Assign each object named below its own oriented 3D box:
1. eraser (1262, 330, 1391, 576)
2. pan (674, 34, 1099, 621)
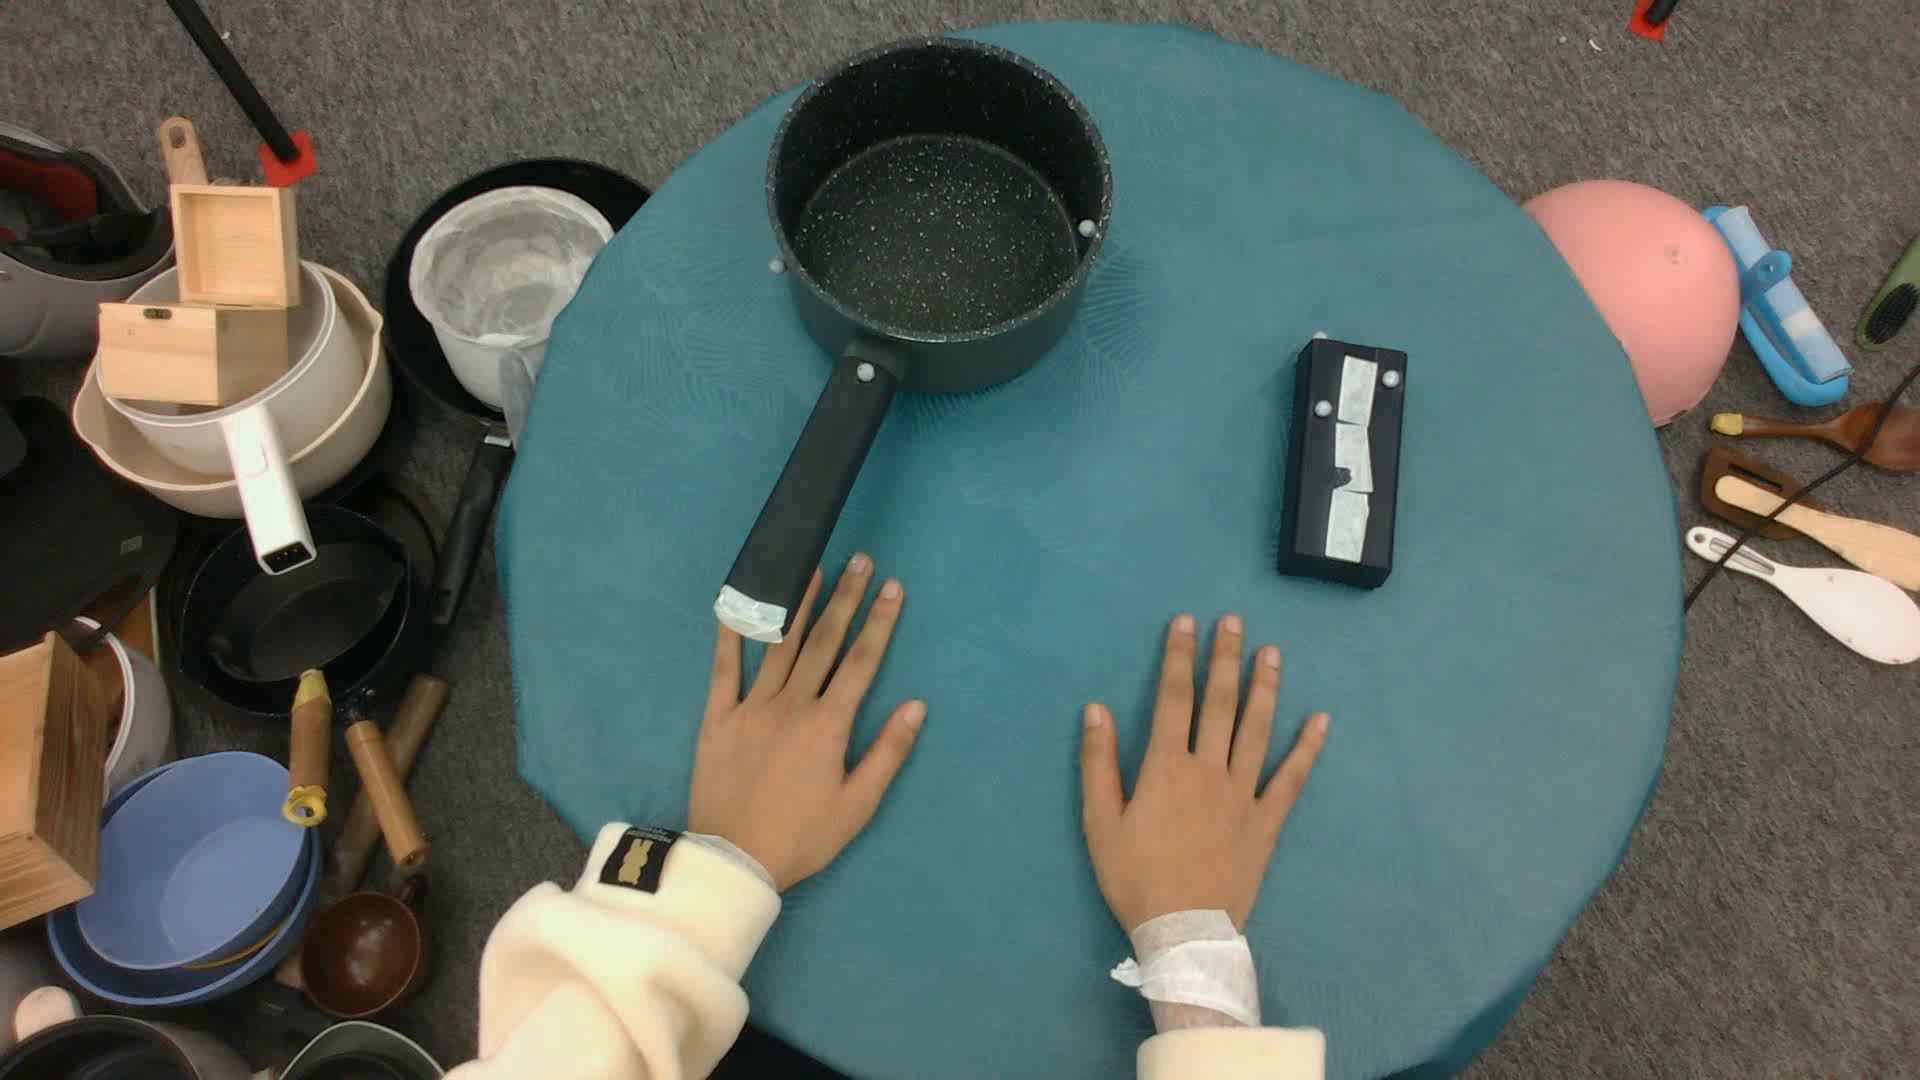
[{"bbox_3d":[0.188,-0.046,0.708,0.053,0.030,0.126,10,72,1],"label":"eraser"},{"bbox_3d":[-0.048,-0.099,0.683,0.172,0.086,0.330,22,69,5],"label":"pan"}]
